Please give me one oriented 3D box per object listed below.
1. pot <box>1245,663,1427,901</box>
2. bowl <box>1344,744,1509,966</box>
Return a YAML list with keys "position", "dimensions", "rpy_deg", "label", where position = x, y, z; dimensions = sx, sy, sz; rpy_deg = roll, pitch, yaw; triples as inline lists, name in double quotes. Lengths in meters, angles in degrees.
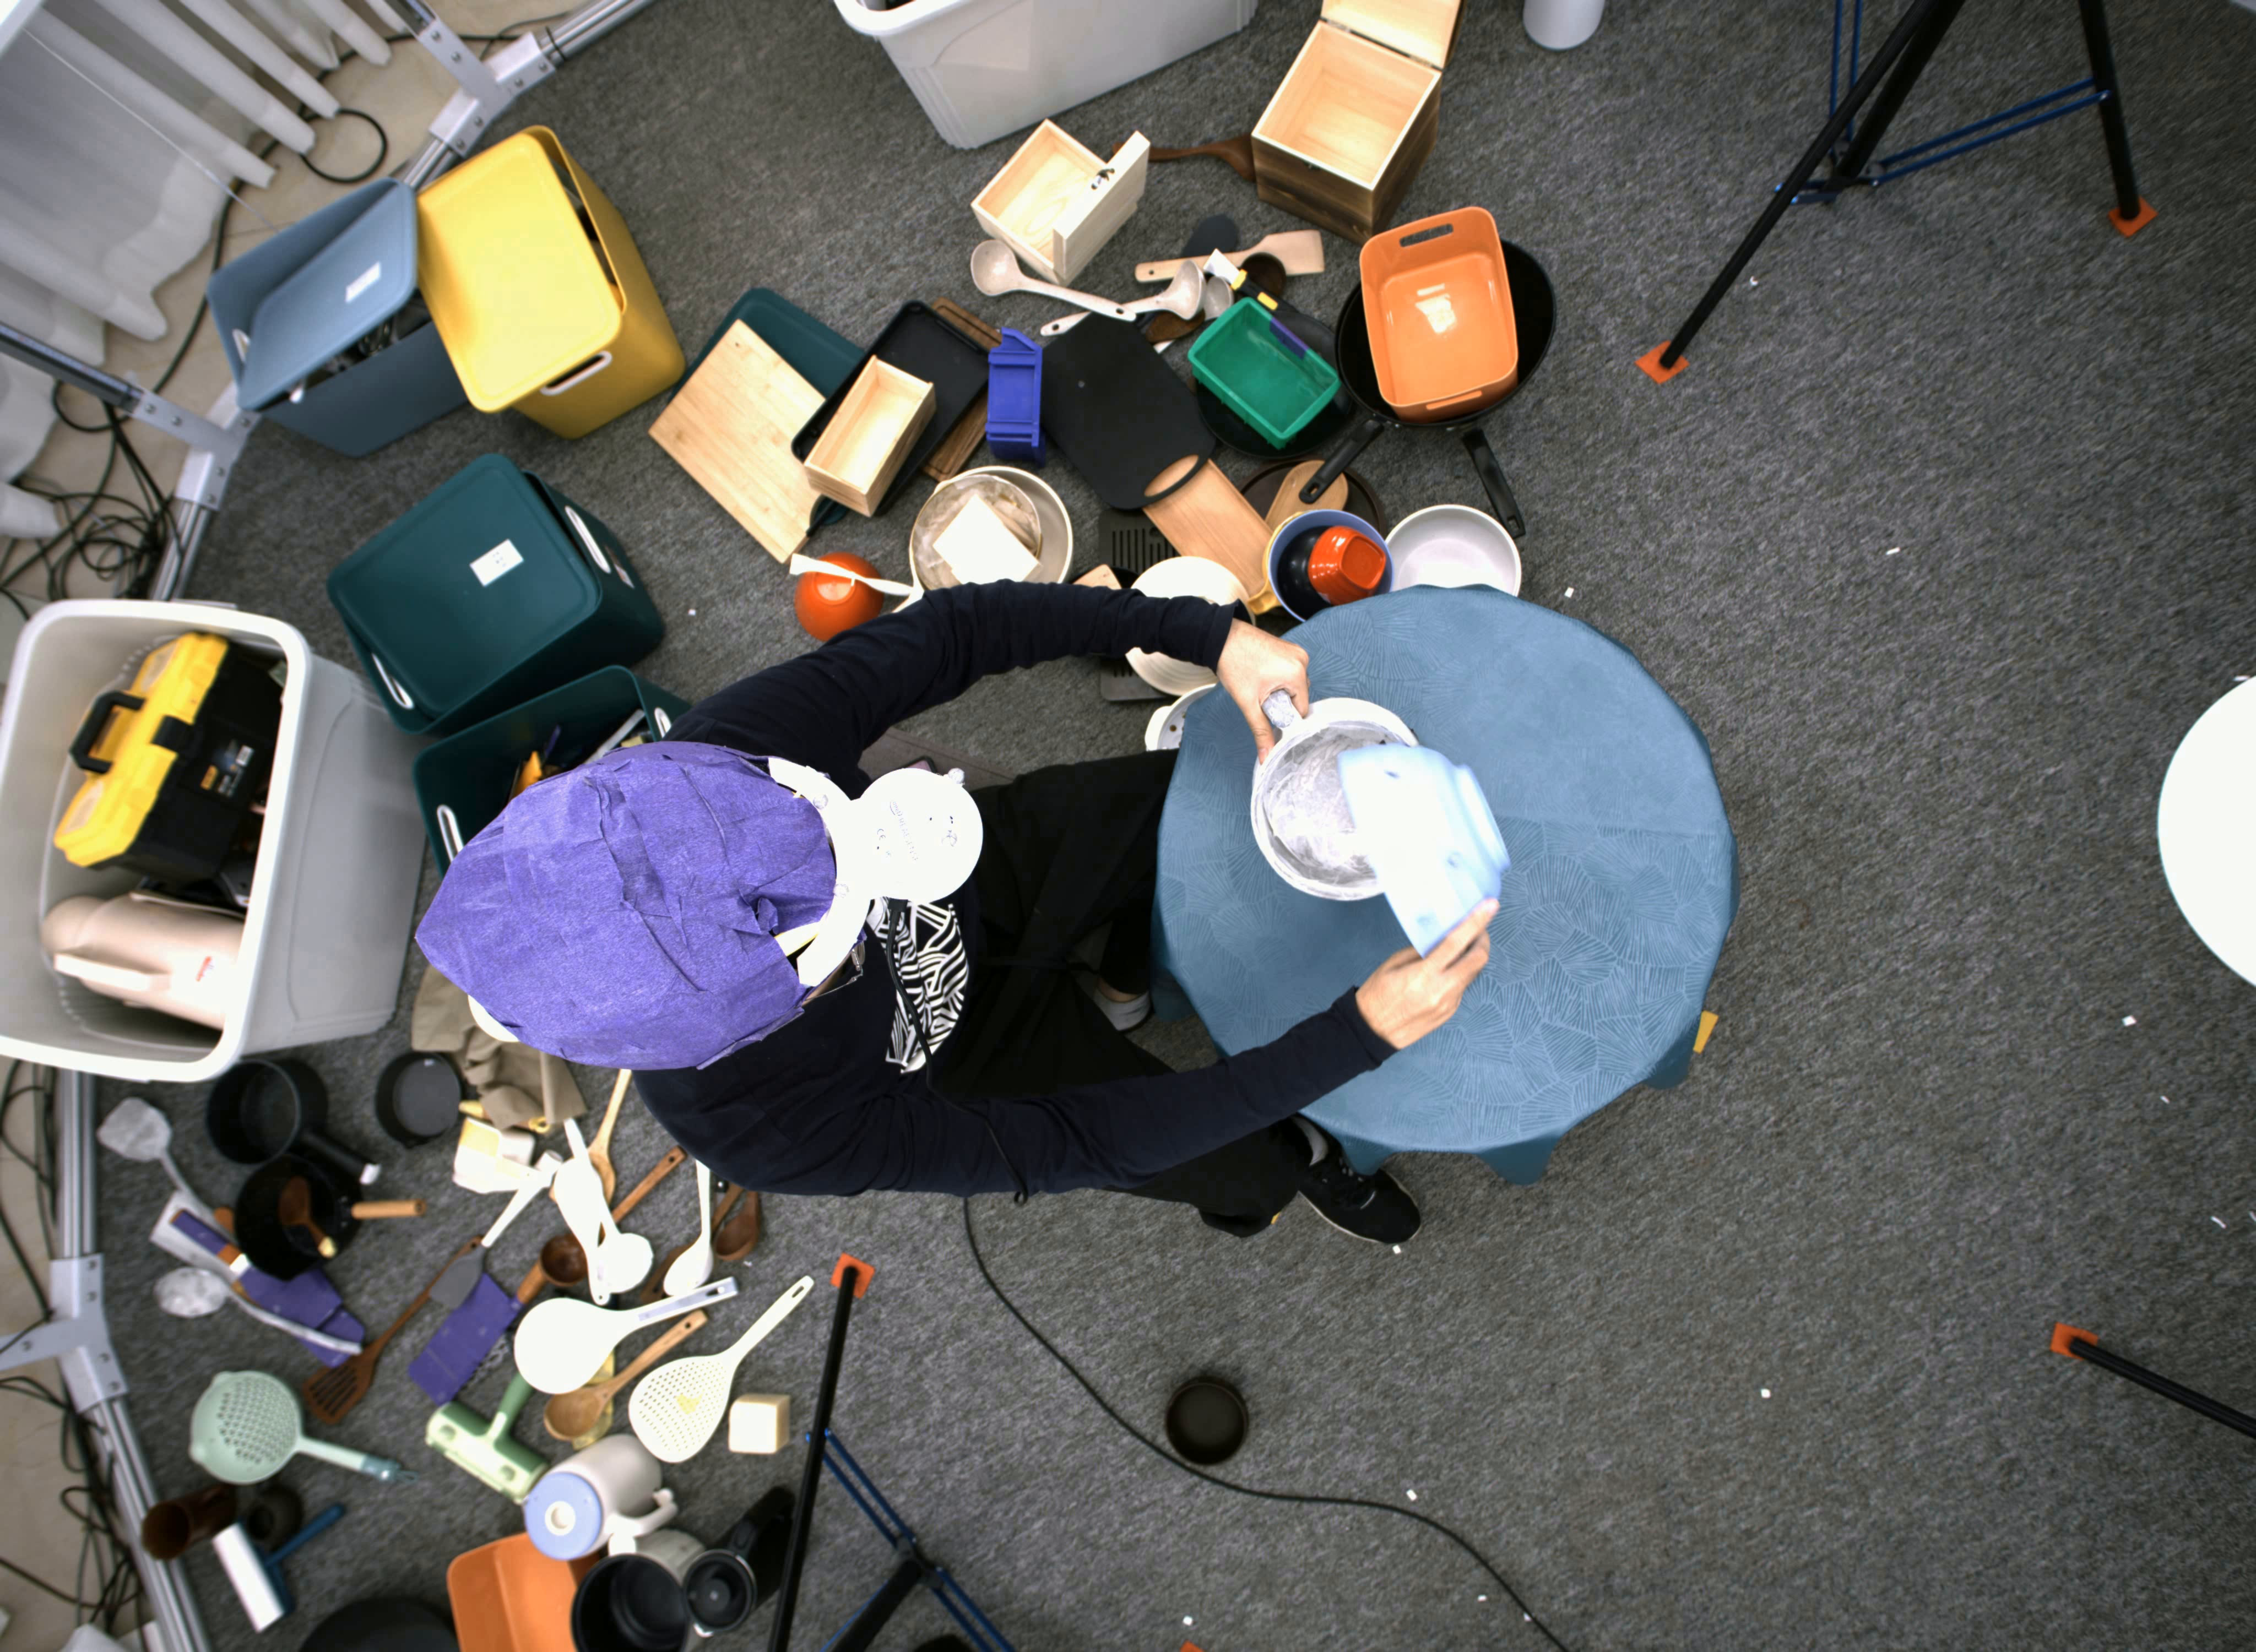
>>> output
- position: [0.192, -0.053, 1.334]
  dimensions: [0.180, 0.134, 0.235]
  rpy_deg: [-36, 101, 12]
  label: "pot"
- position: [0.263, 0.011, 1.171]
  dimensions: [0.096, 0.196, 0.195]
  rpy_deg: [-21, 82, 12]
  label: "bowl"
